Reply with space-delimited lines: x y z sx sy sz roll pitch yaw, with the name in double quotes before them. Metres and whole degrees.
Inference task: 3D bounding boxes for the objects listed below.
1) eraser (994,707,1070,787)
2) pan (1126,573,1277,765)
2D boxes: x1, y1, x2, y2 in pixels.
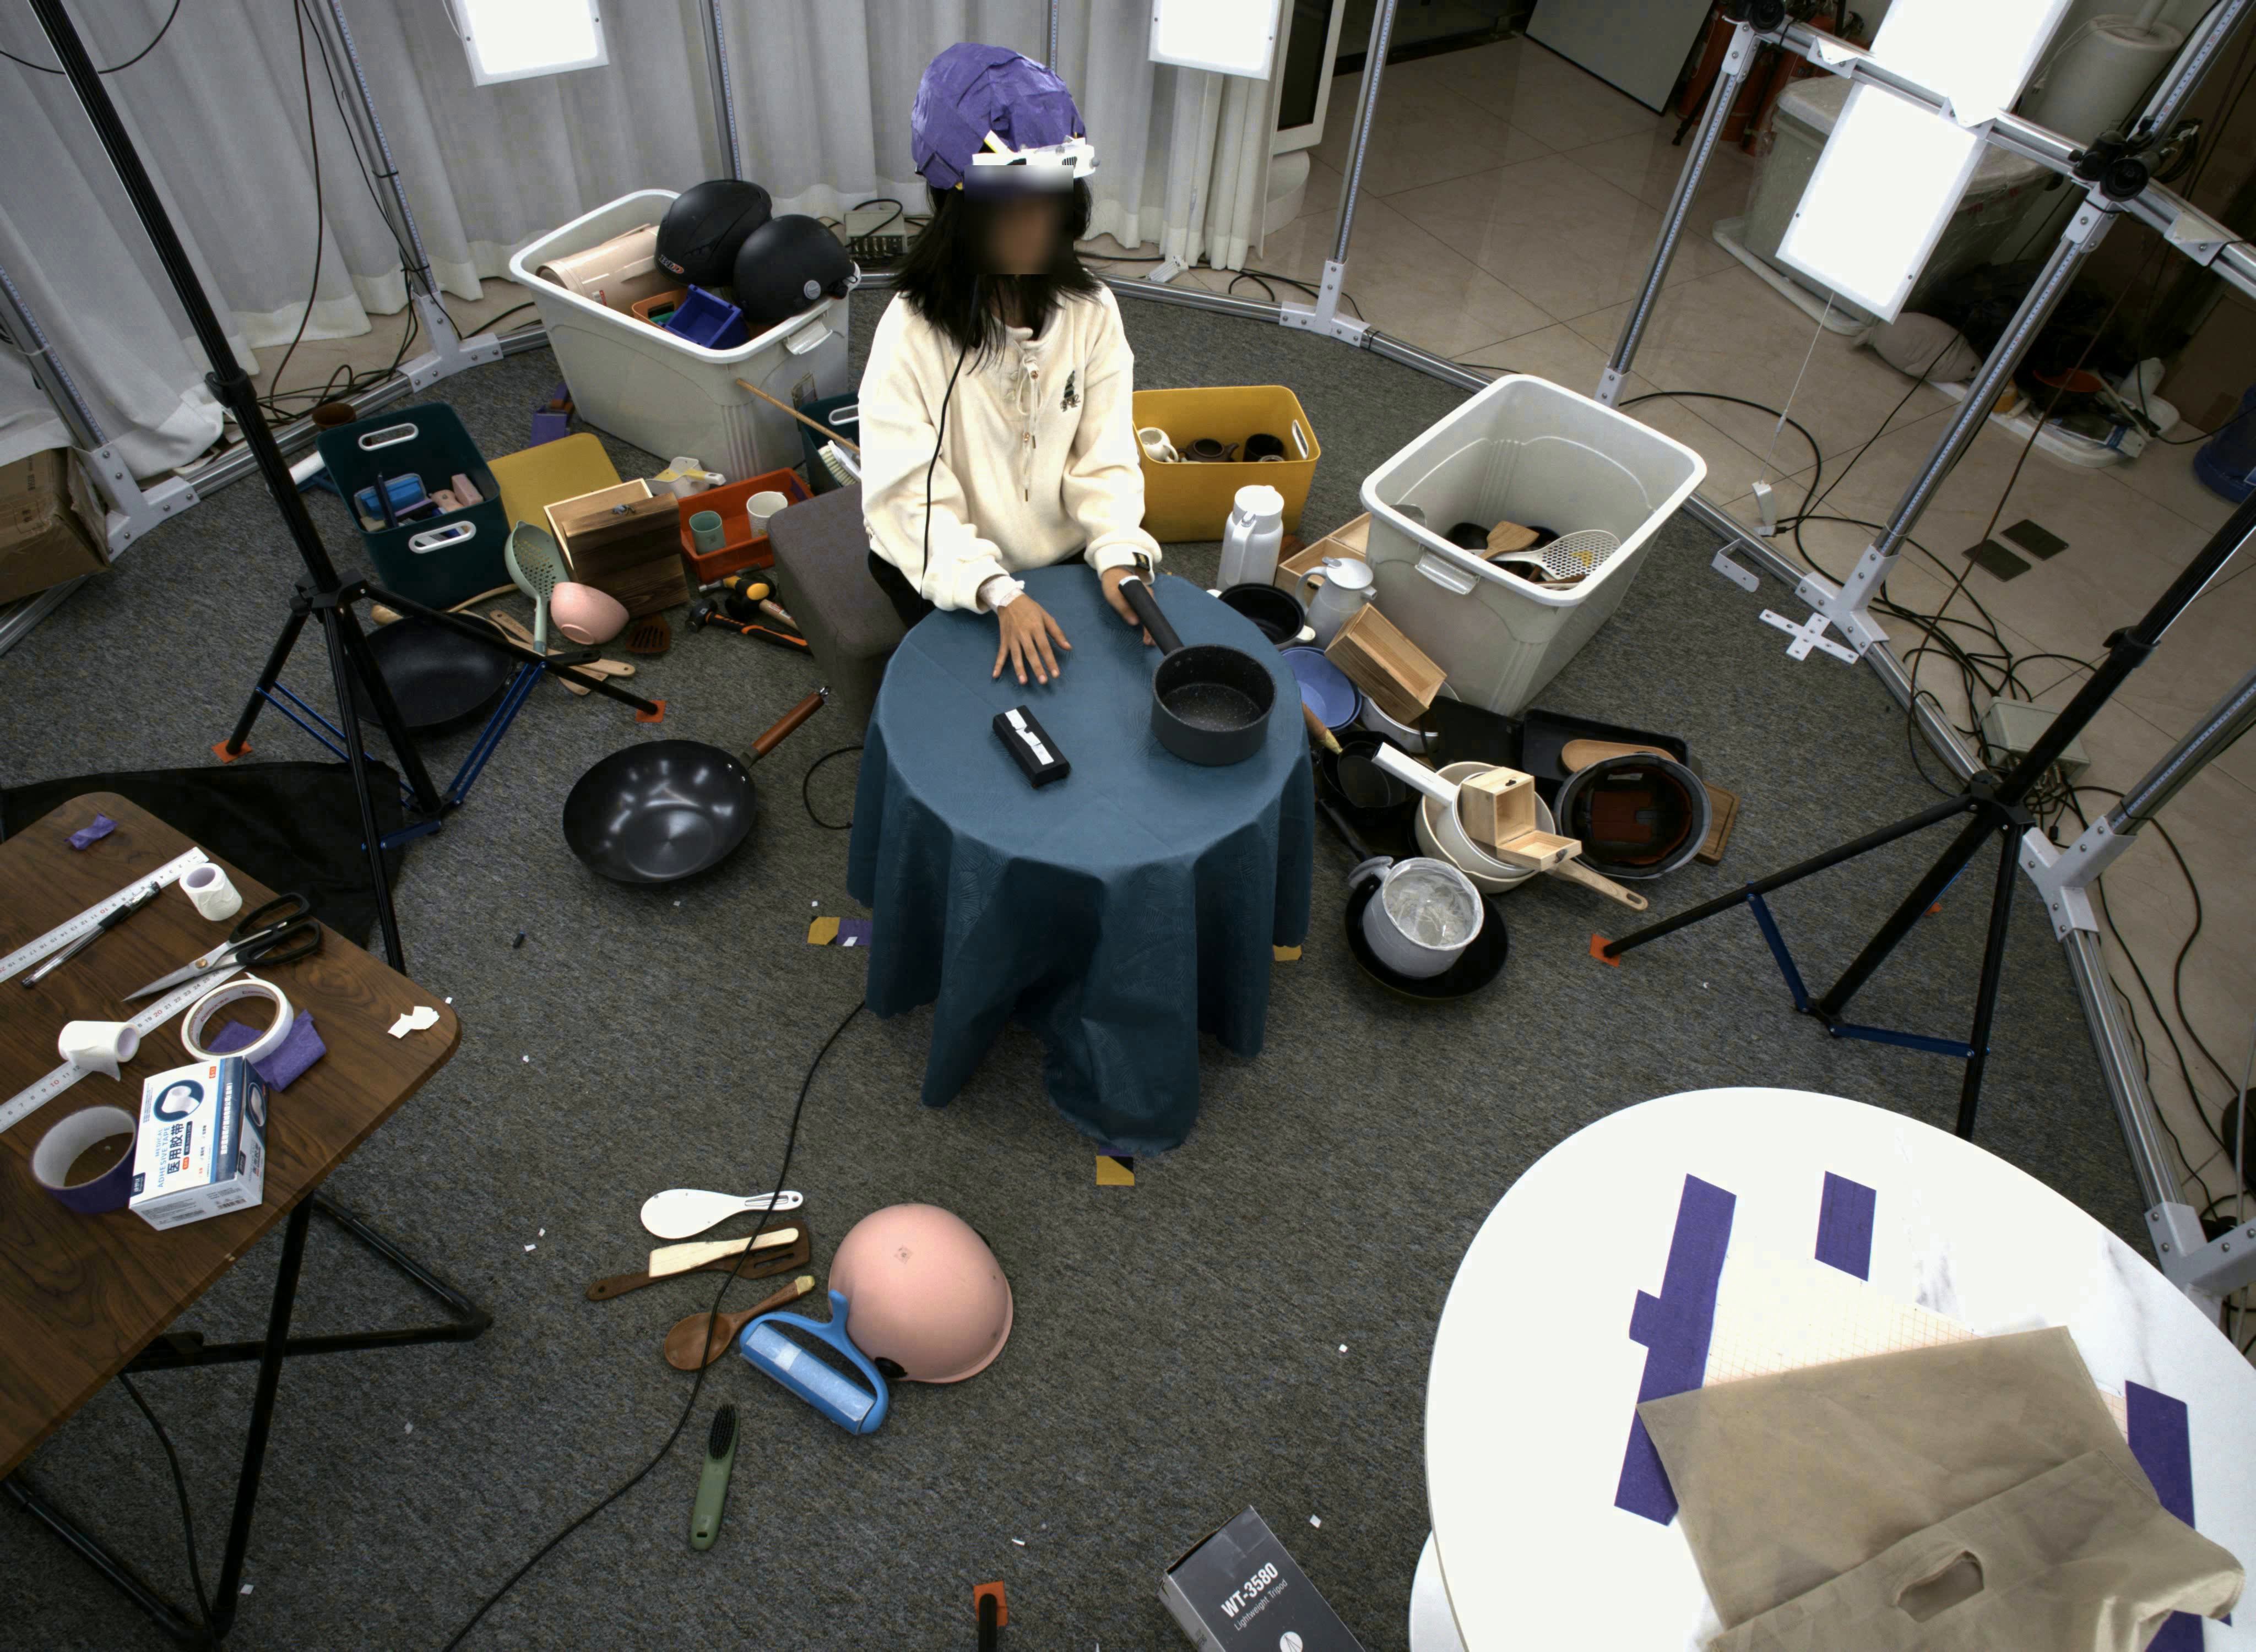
"eraser" -0.131 -0.108 1.737 0.053 0.030 0.128 -21 53 -21
"pan" 0.079 -0.225 1.816 0.172 0.084 0.336 -18 54 -20
